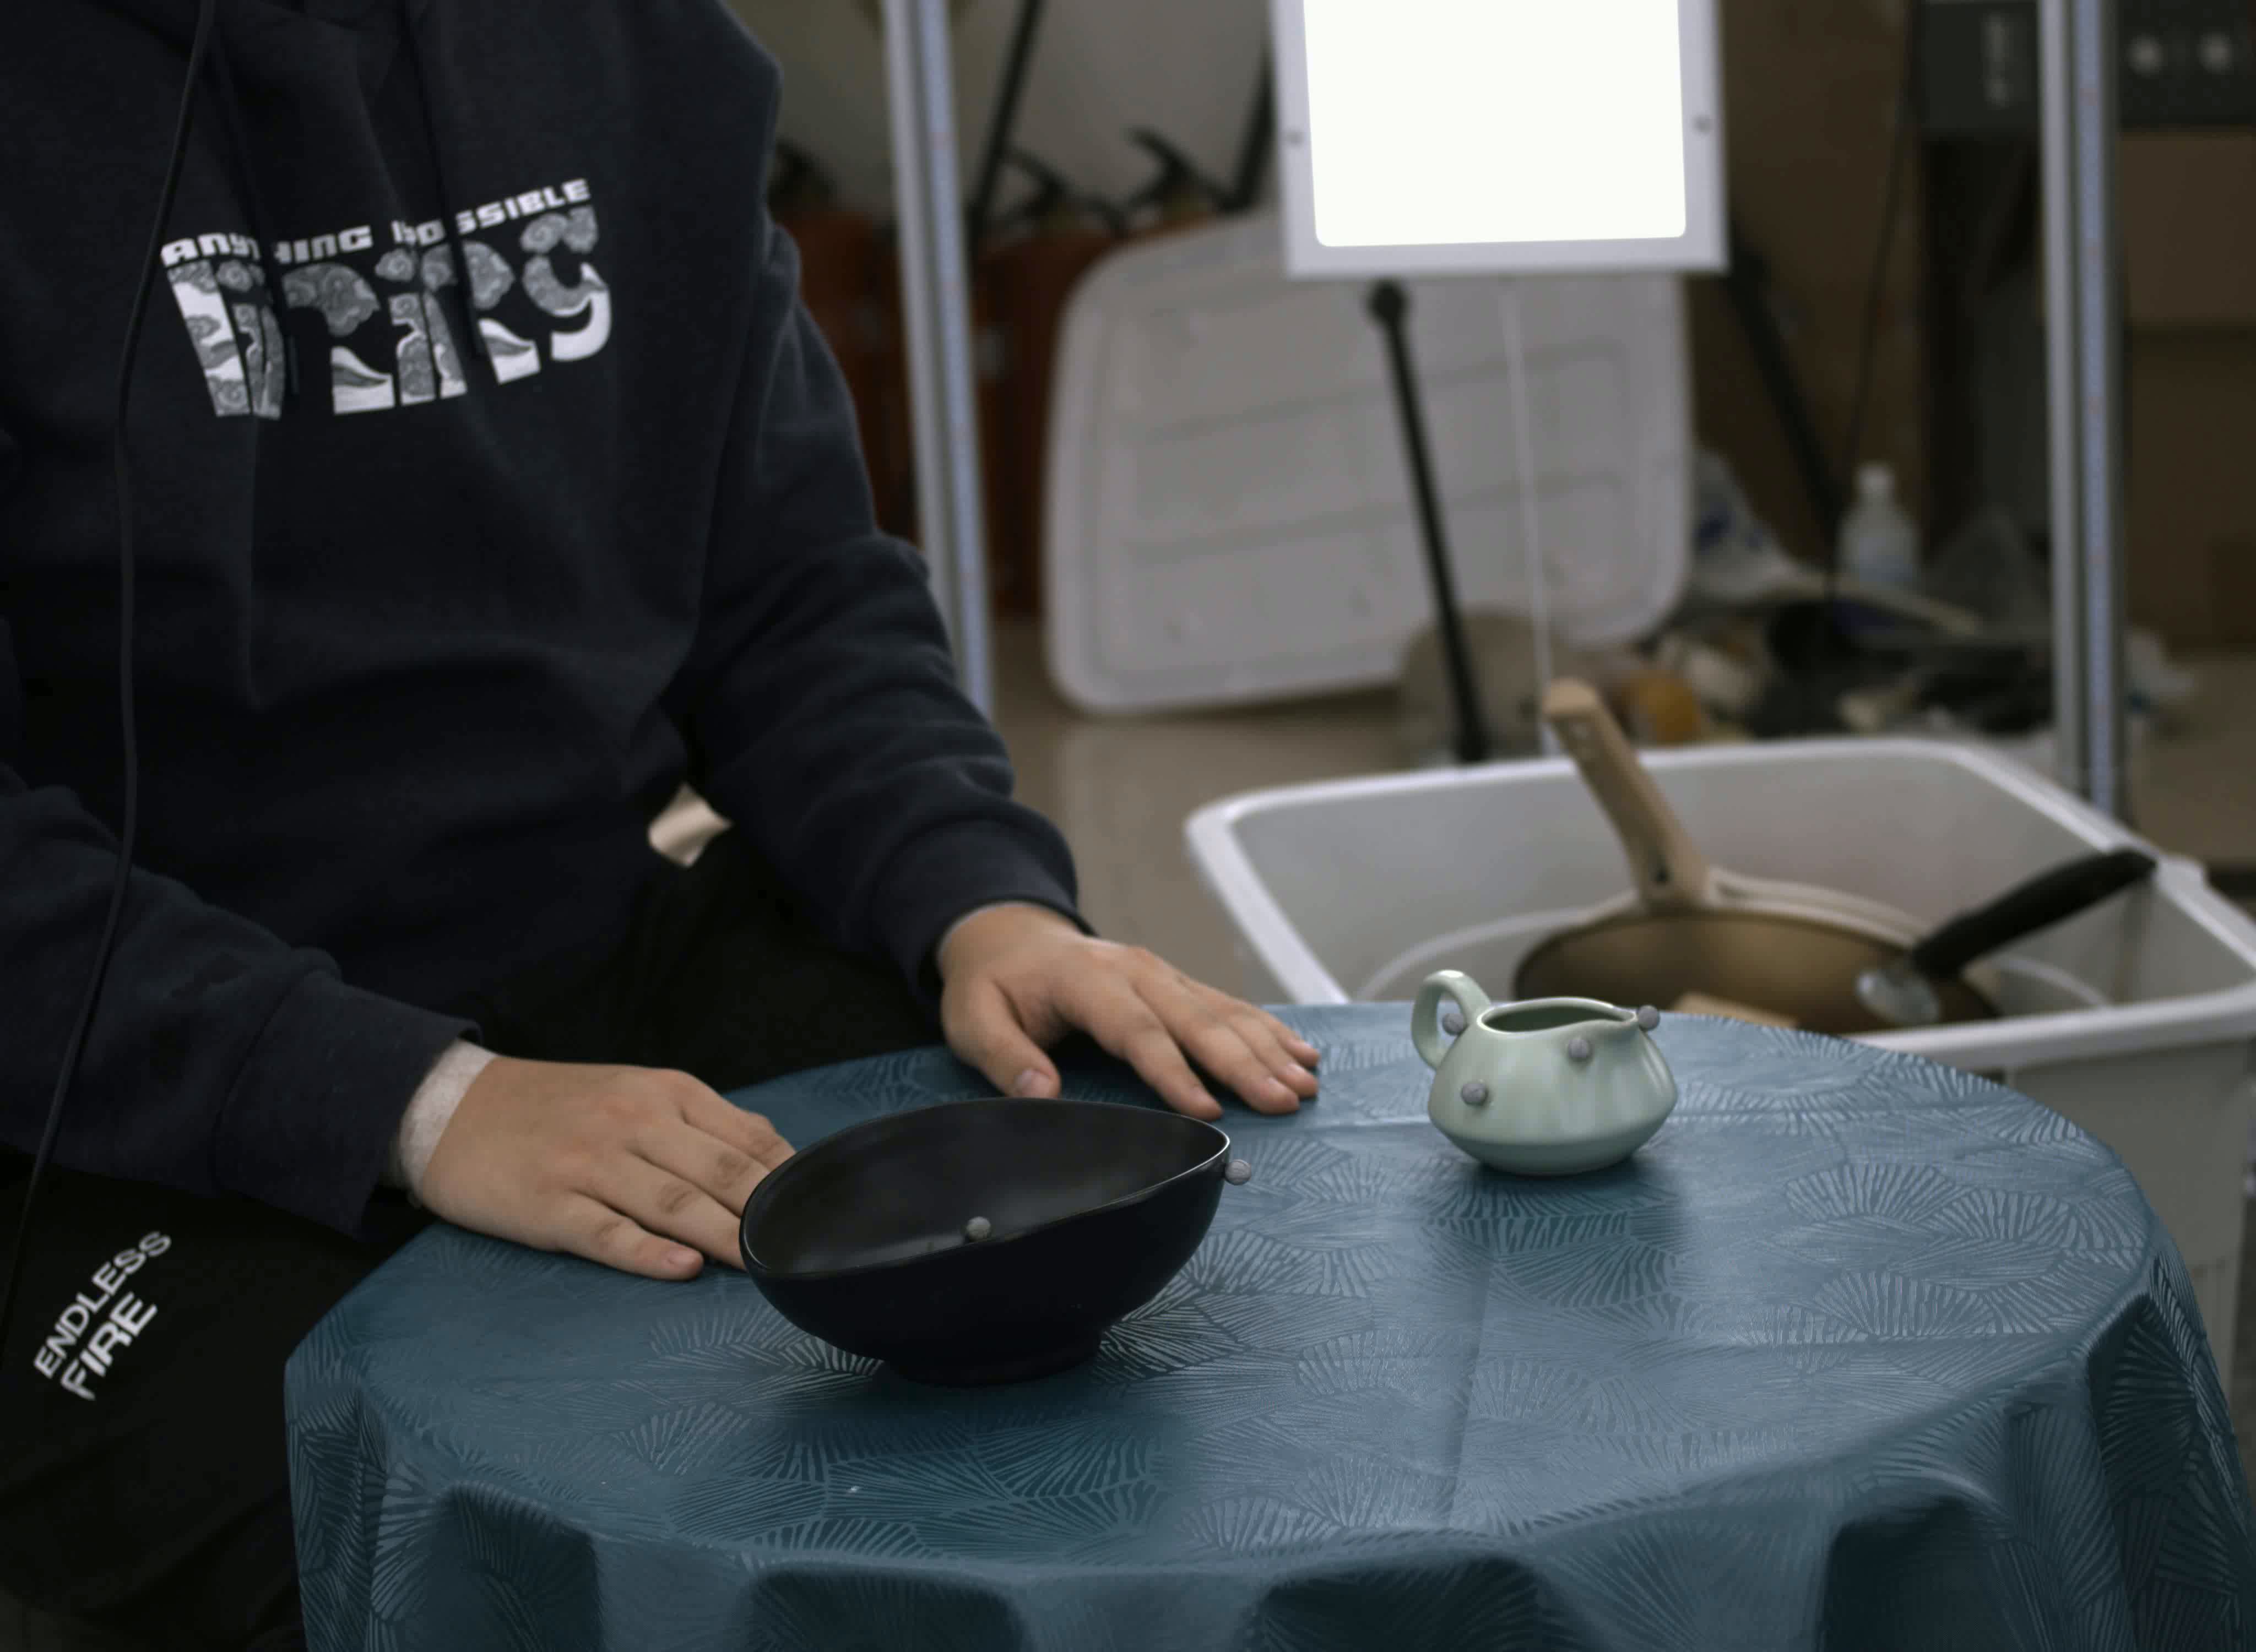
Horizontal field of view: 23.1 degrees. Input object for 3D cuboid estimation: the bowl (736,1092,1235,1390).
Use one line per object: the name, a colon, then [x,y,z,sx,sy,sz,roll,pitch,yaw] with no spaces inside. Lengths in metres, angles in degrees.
bowl: [-0.042,0.136,1.740,0.166,0.067,0.140,-16,17,-37]

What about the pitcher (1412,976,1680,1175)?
pitcher: [0.139,0.086,1.900,0.084,0.060,0.110,-15,15,-40]
